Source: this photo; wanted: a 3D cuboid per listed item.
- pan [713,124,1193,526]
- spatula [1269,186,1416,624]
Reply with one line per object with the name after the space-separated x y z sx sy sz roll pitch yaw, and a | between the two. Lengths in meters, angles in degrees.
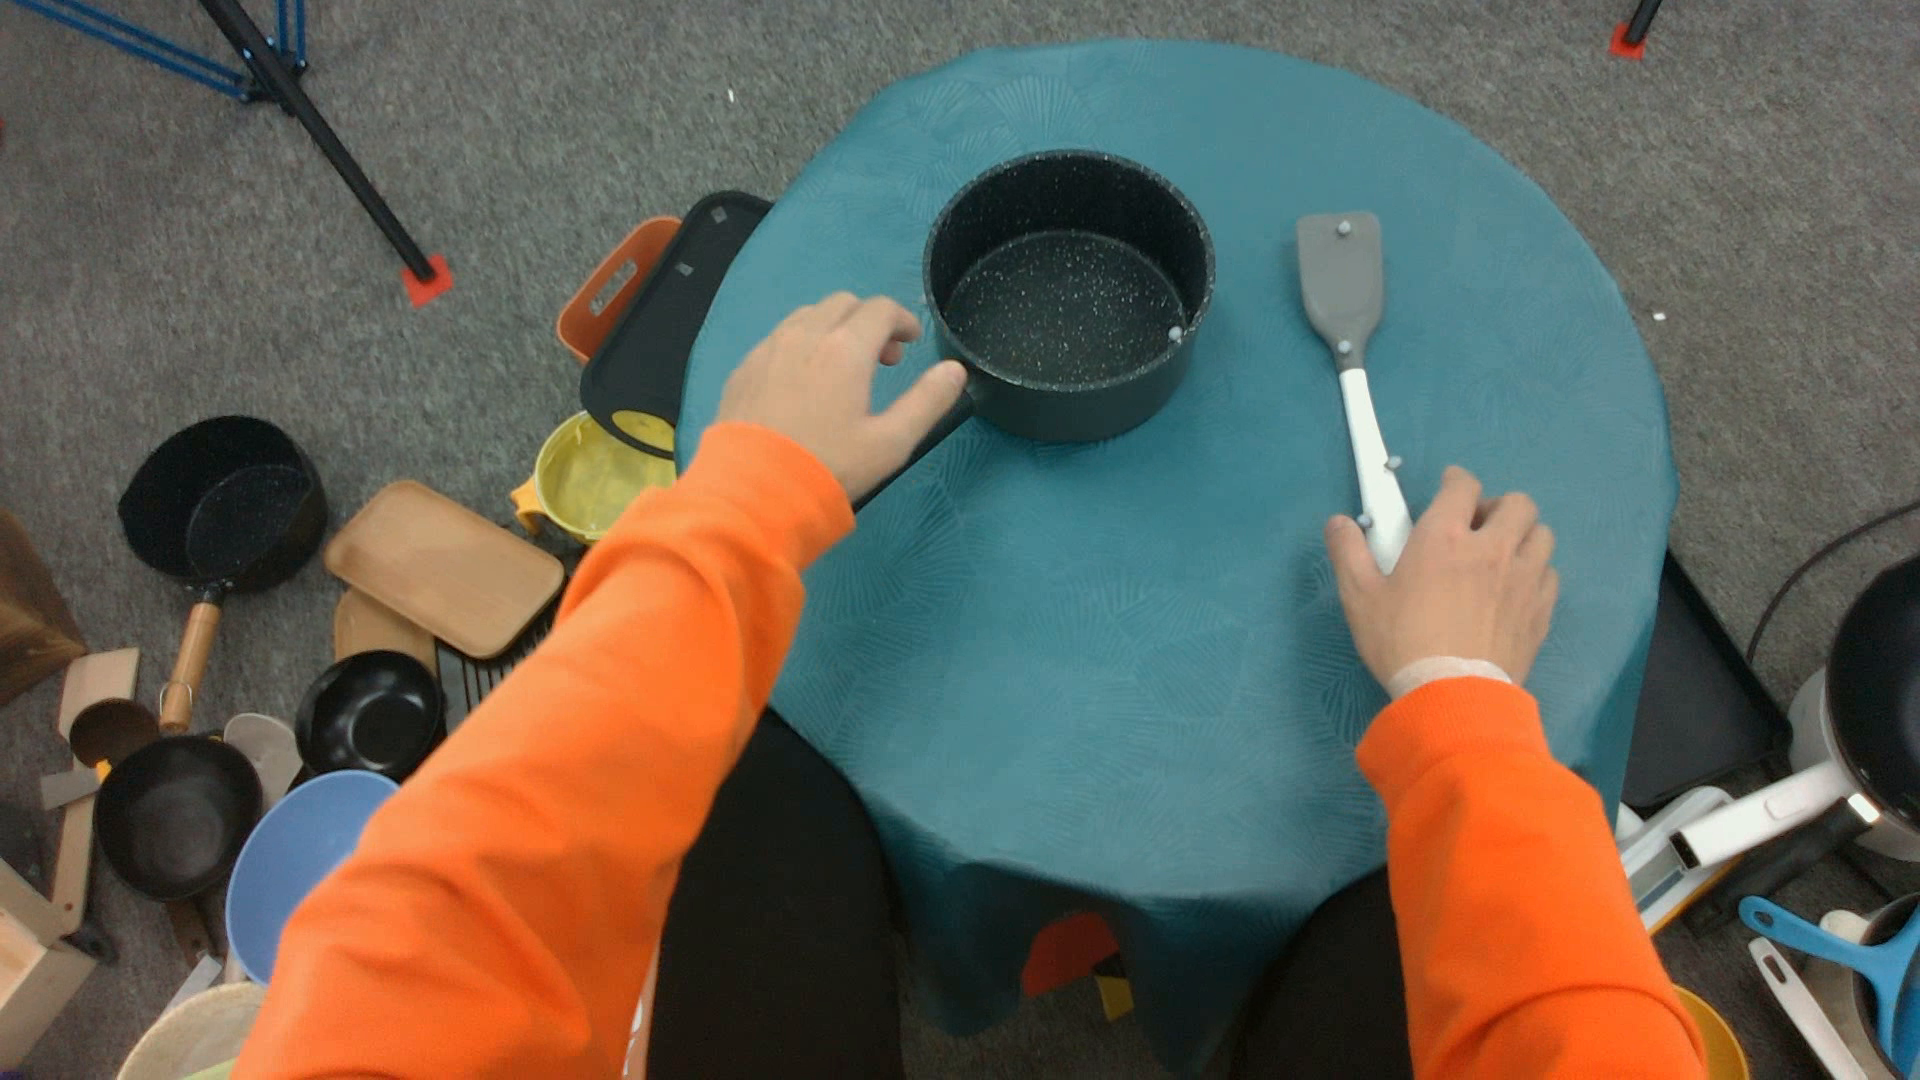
-0.005 -0.108 0.807 0.172 0.086 0.330 41 71 18 | pan
0.229 -0.089 0.822 0.058 0.032 0.288 -5 66 3 | spatula
